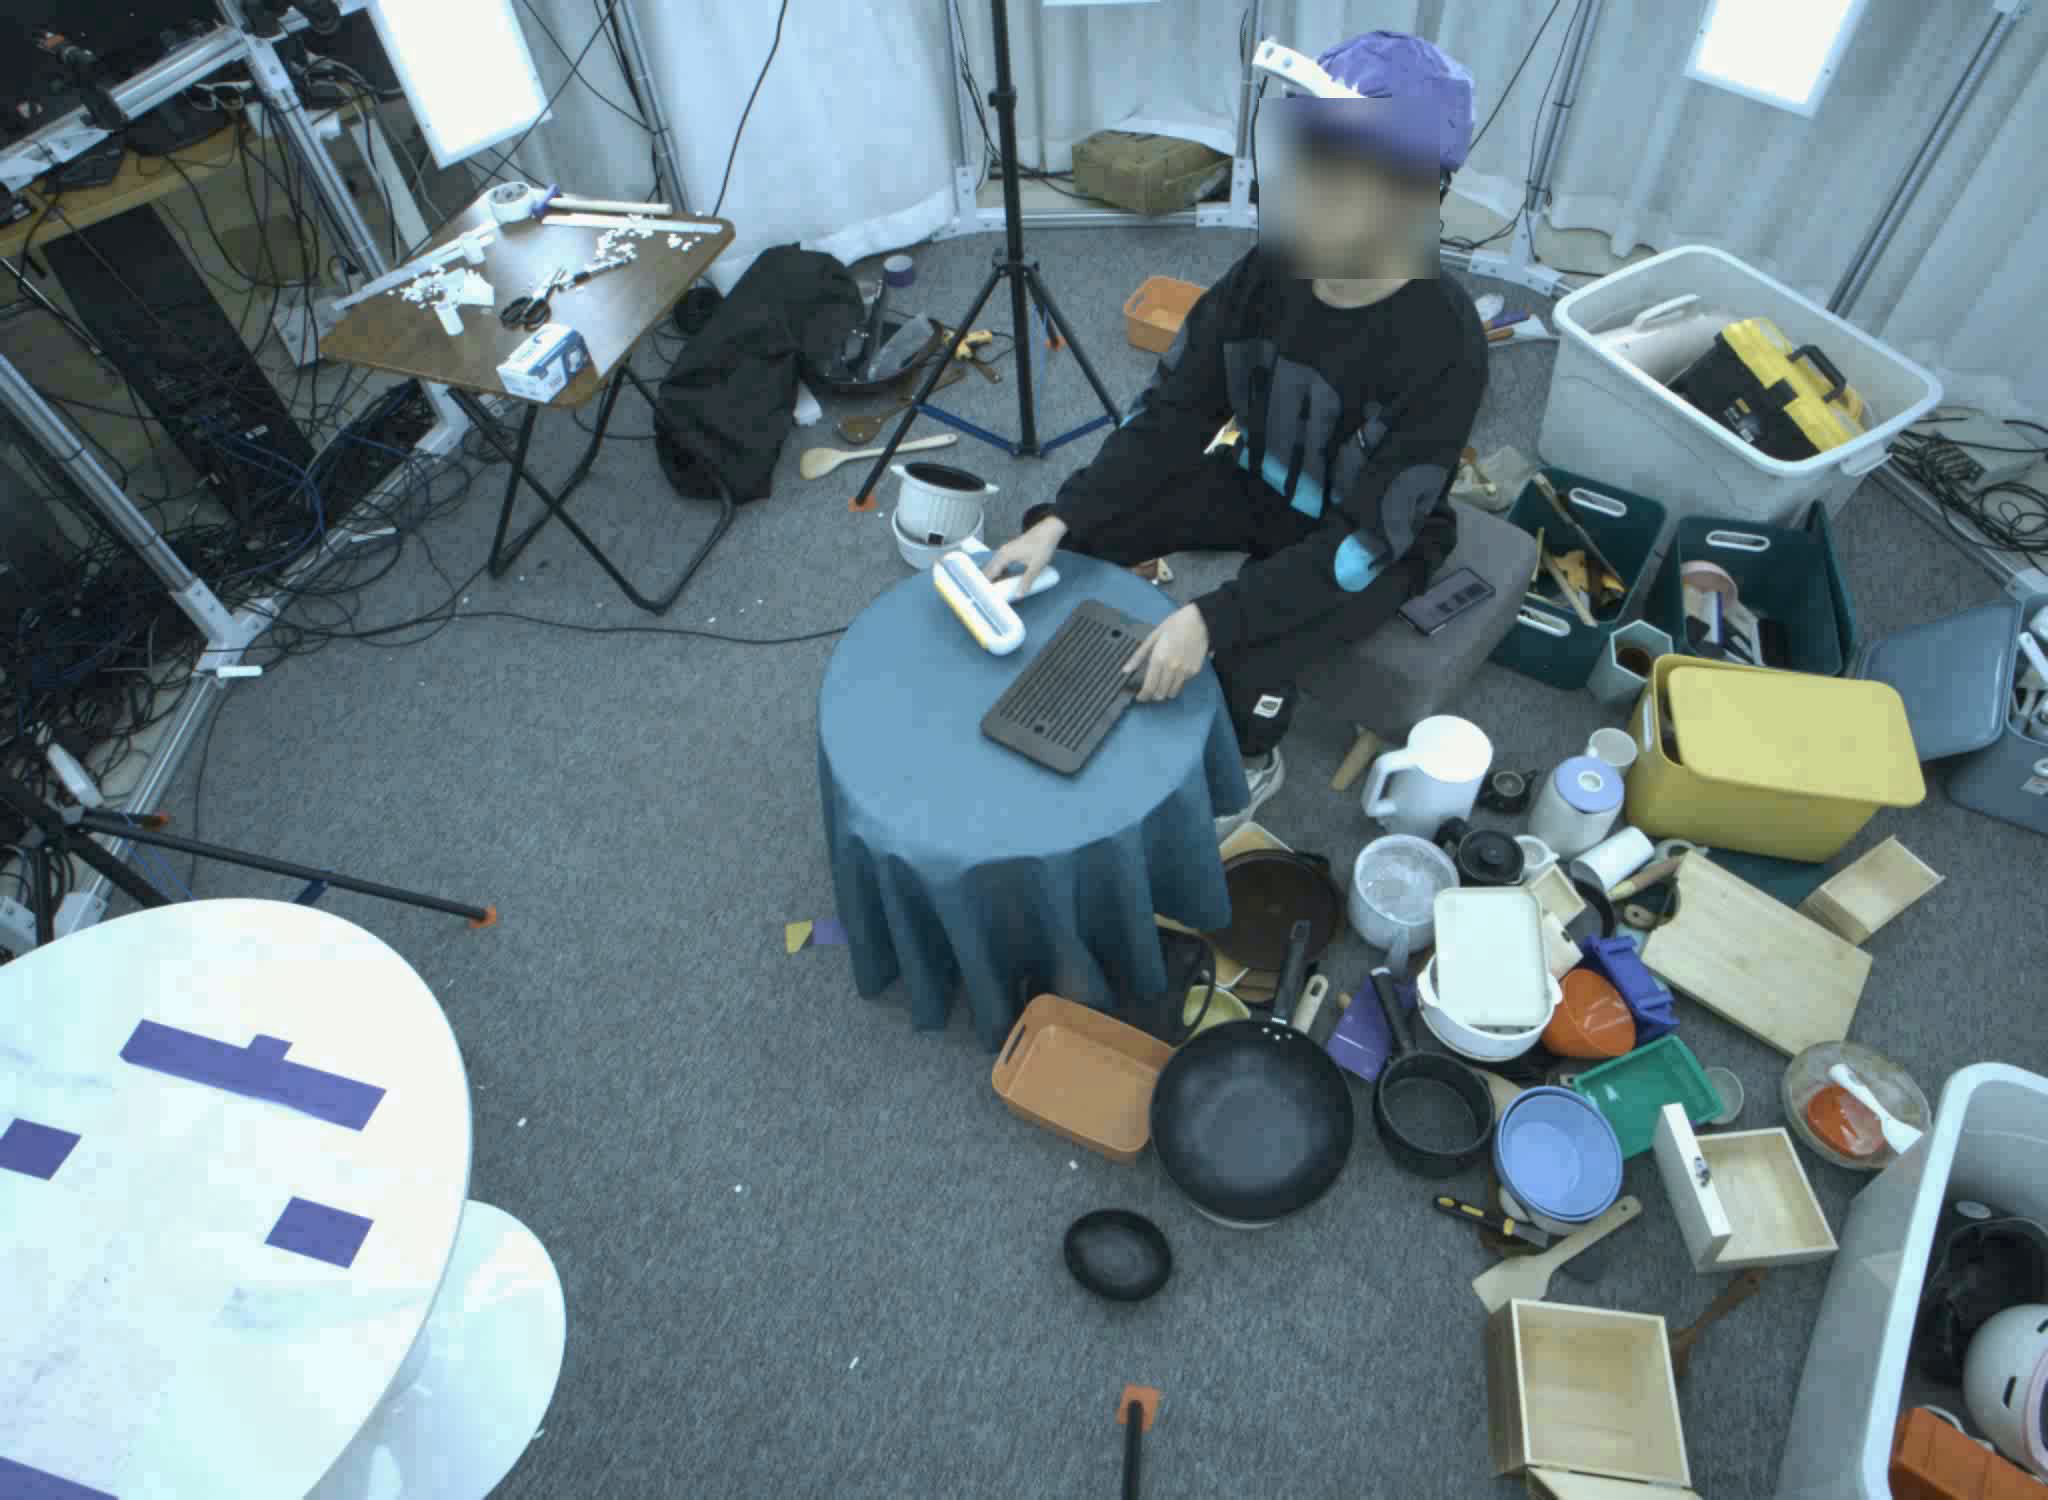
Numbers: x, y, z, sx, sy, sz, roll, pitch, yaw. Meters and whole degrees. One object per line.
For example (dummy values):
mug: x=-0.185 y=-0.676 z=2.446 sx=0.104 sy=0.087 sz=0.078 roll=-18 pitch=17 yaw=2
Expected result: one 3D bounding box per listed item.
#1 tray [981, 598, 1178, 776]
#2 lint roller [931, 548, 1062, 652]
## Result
tray: x=0.086 y=-0.098 z=1.838 sx=0.167 sy=0.019 sz=0.307 roll=28 pitch=60 yaw=20
lint roller: x=-0.025 y=-0.253 z=1.922 sx=0.194 sy=0.075 sz=0.189 roll=-27 pitch=63 yaw=-18
